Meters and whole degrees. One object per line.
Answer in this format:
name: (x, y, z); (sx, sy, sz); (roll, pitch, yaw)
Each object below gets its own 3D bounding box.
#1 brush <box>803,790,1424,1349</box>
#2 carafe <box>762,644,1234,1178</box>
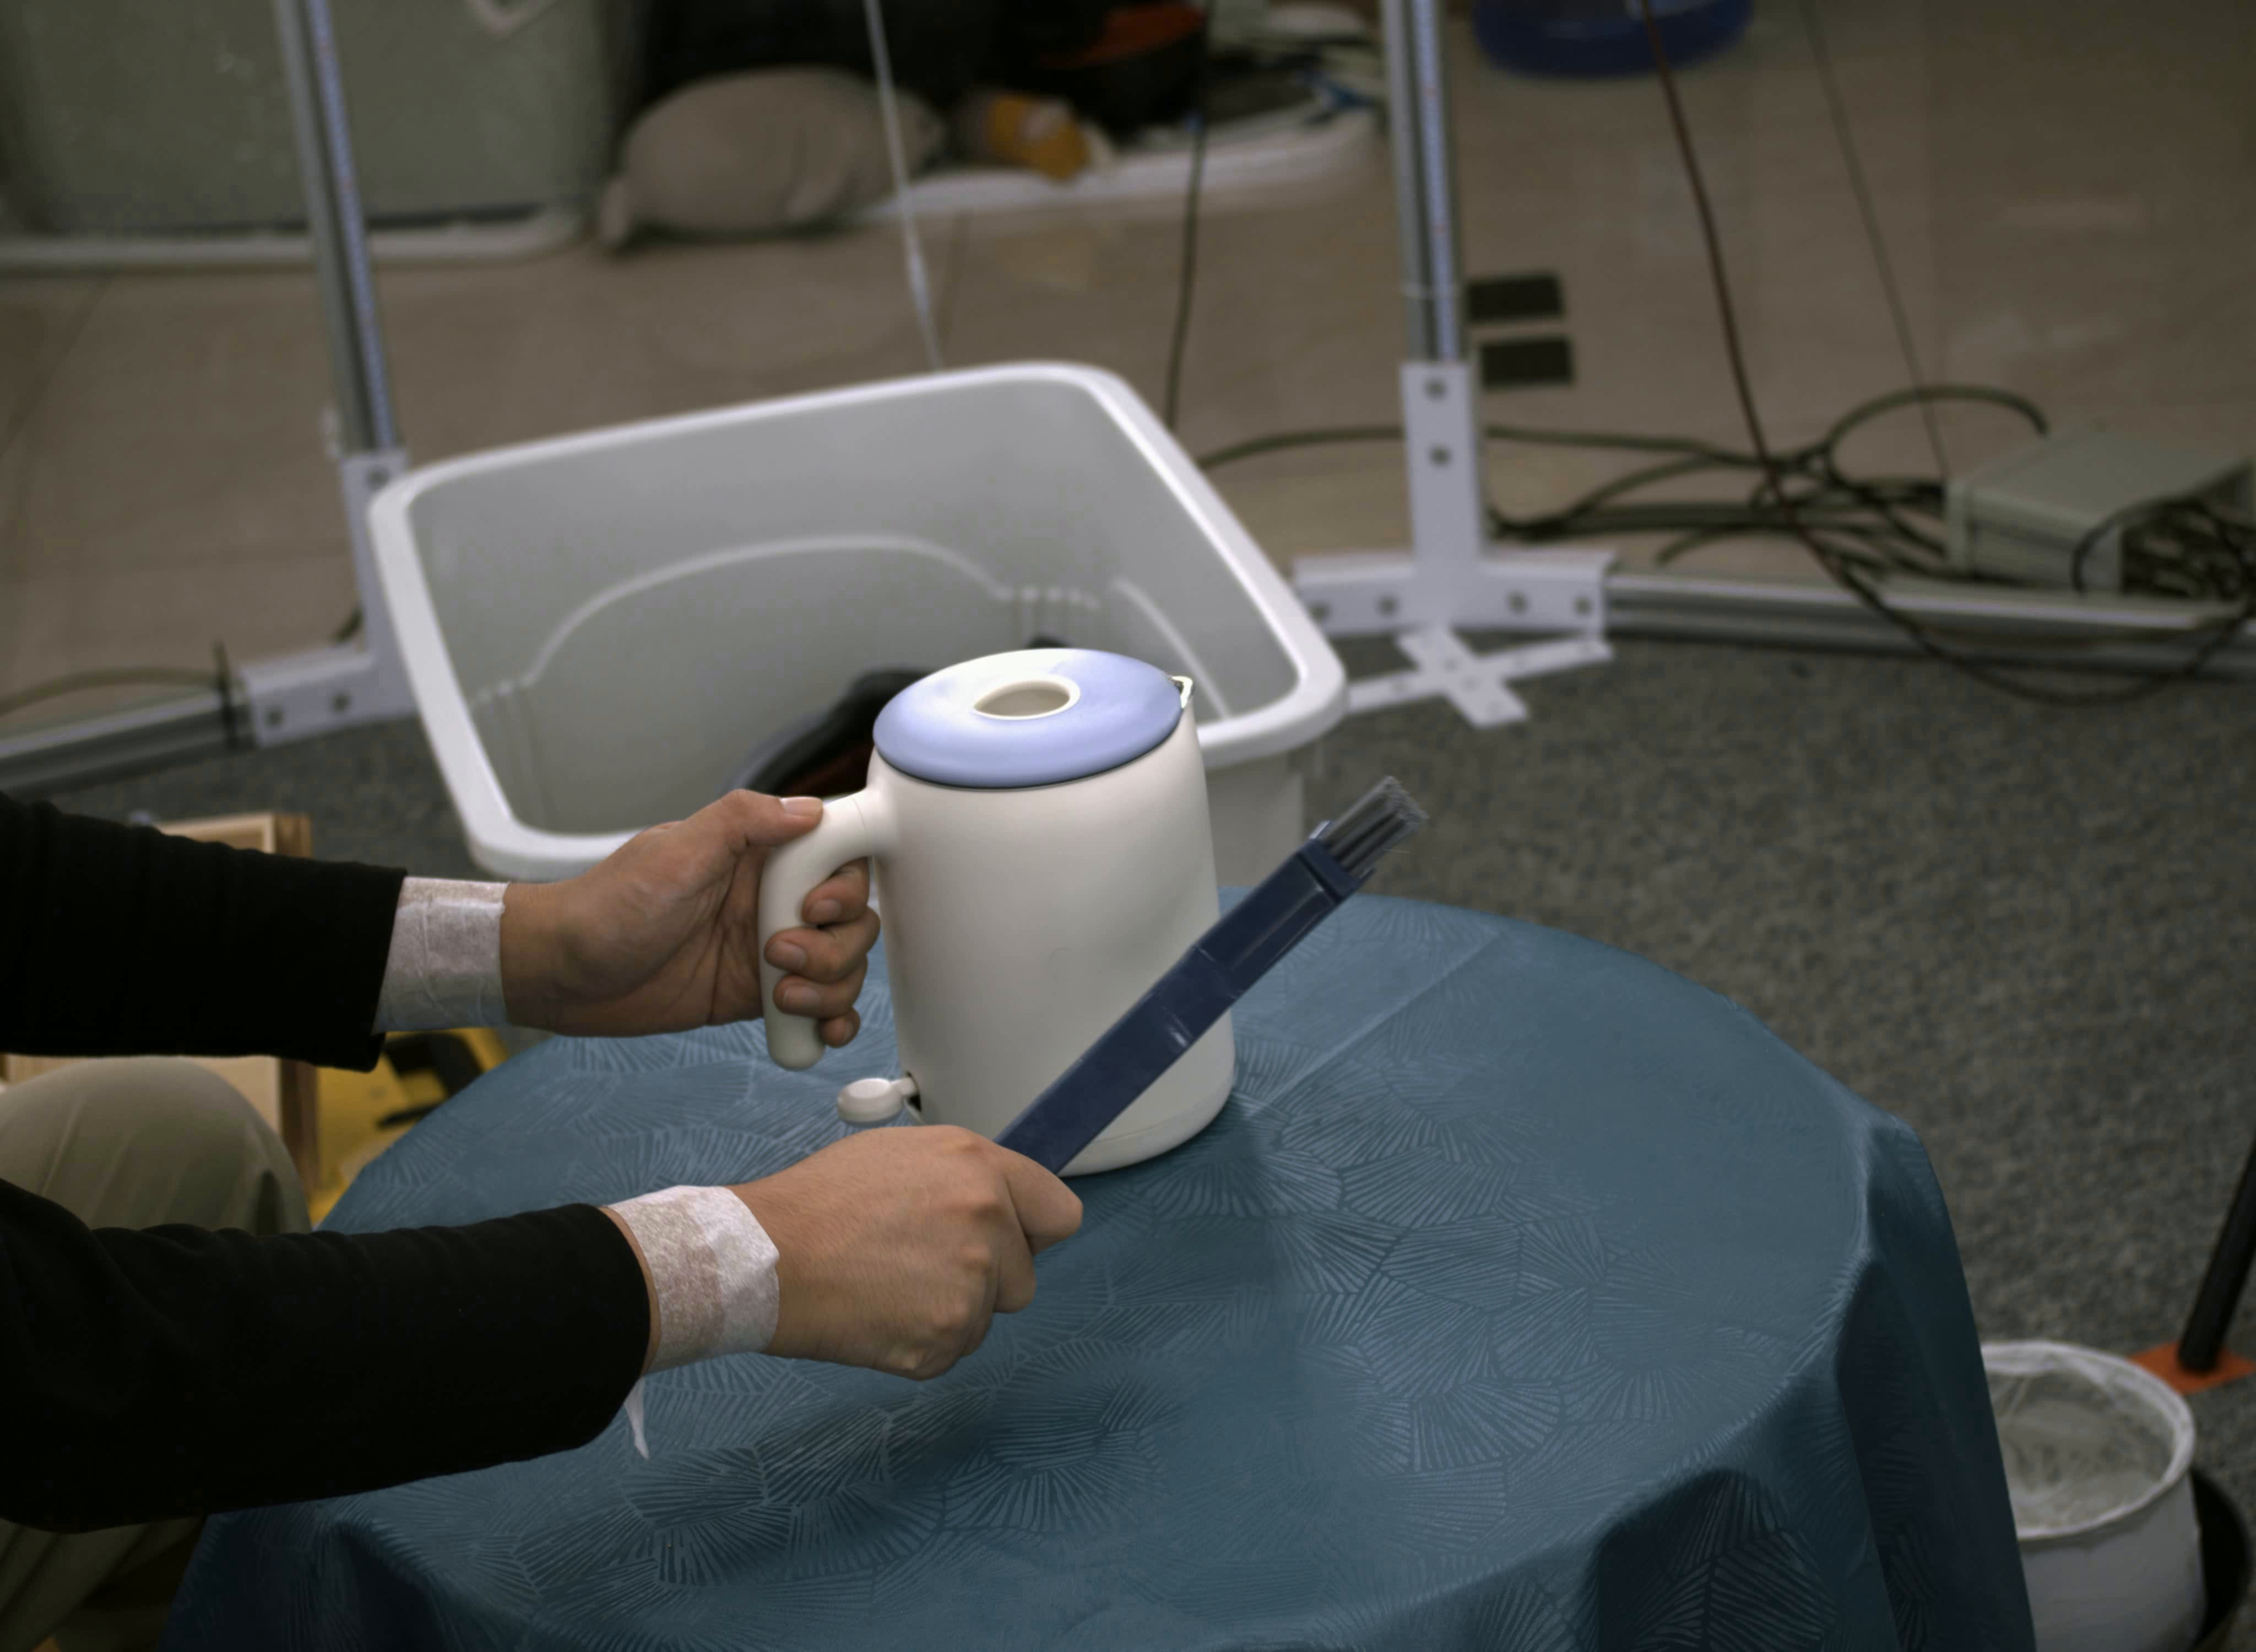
brush: (-0.005, 0.083, 2.019); (0.270, 0.033, 0.096); (-44, 7, -29)
carafe: (-0.052, 0.039, 2.169); (0.190, 0.185, 0.130); (-18, 27, -20)
